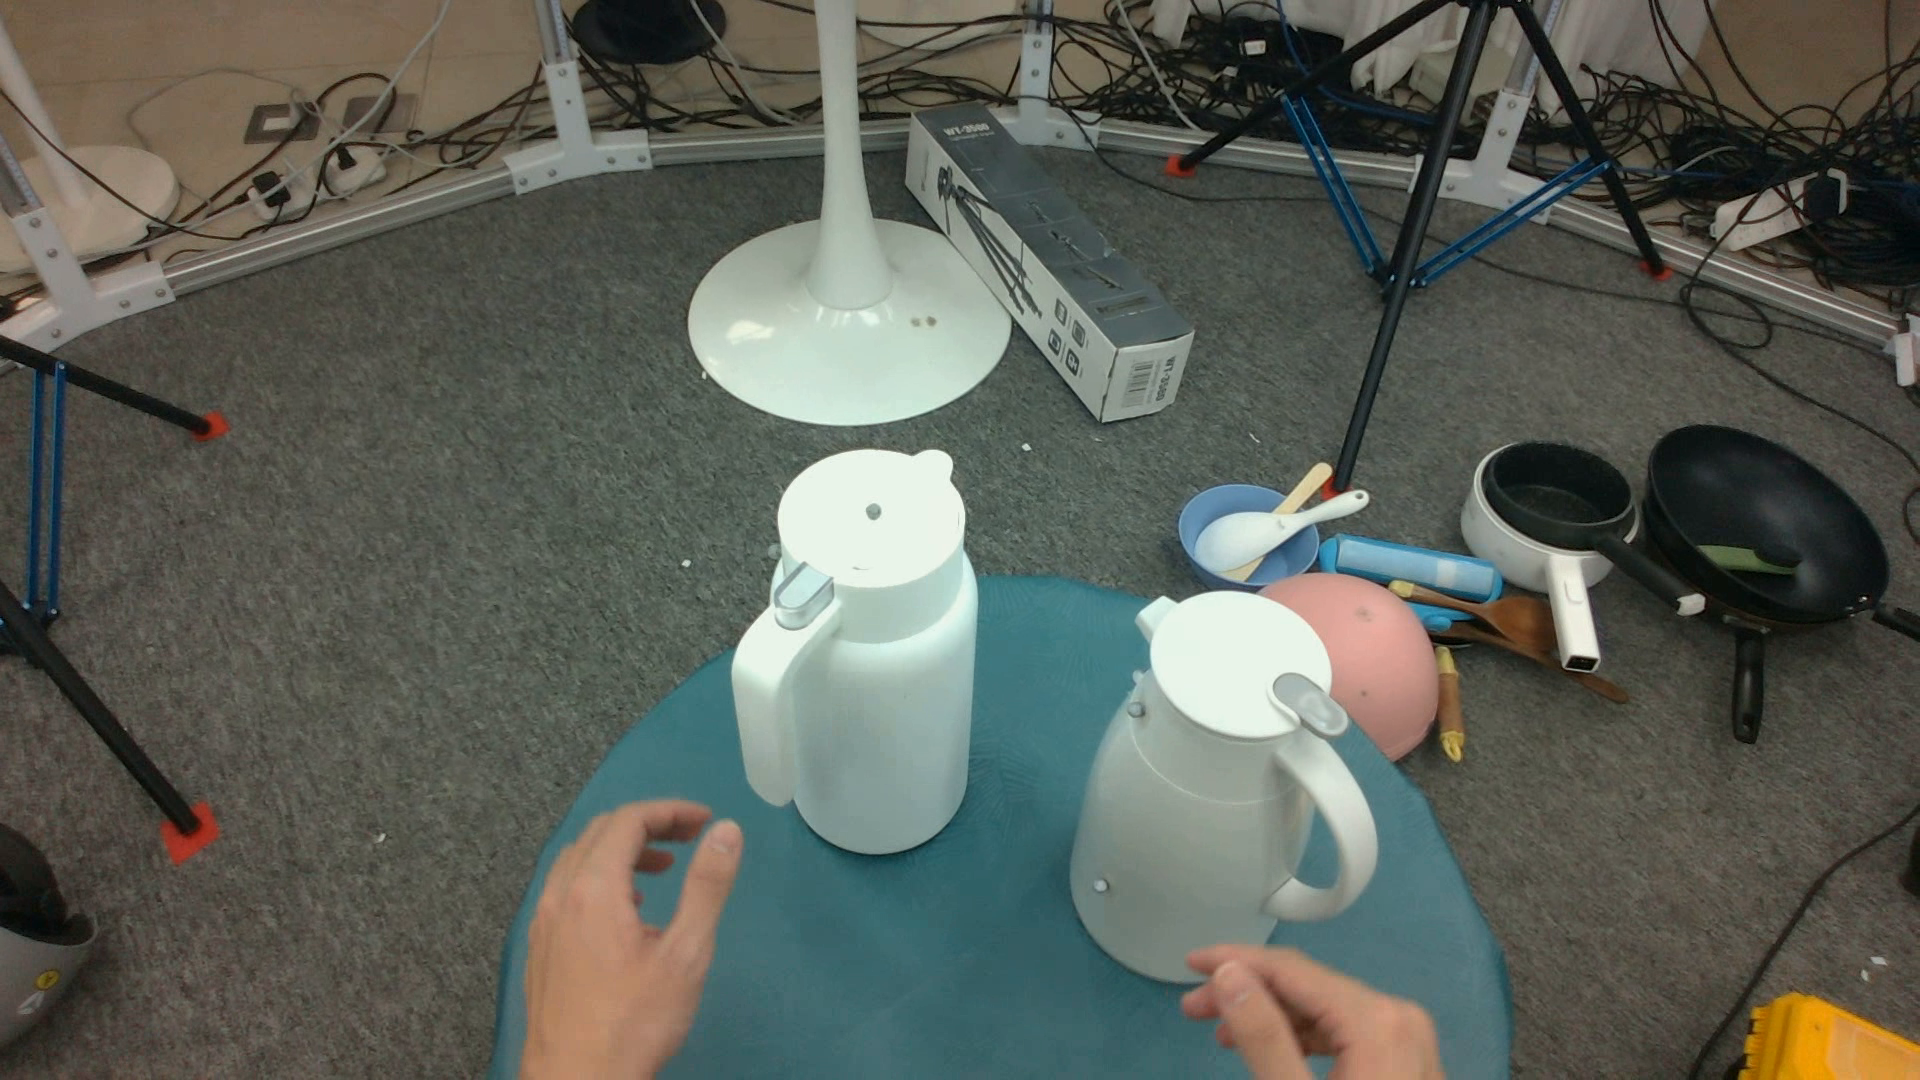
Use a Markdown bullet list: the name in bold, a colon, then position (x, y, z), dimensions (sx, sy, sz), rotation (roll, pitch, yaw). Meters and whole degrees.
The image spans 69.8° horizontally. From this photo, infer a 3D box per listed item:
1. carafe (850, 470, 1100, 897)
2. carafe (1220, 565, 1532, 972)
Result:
- **carafe**: position (0.010, 0.108, 0.801), dimensions (0.124, 0.267, 0.173), rotation (17, 53, 22)
- **carafe**: position (0.226, 0.131, 0.755), dimensions (0.168, 0.247, 0.133), rotation (32, 60, 32)
